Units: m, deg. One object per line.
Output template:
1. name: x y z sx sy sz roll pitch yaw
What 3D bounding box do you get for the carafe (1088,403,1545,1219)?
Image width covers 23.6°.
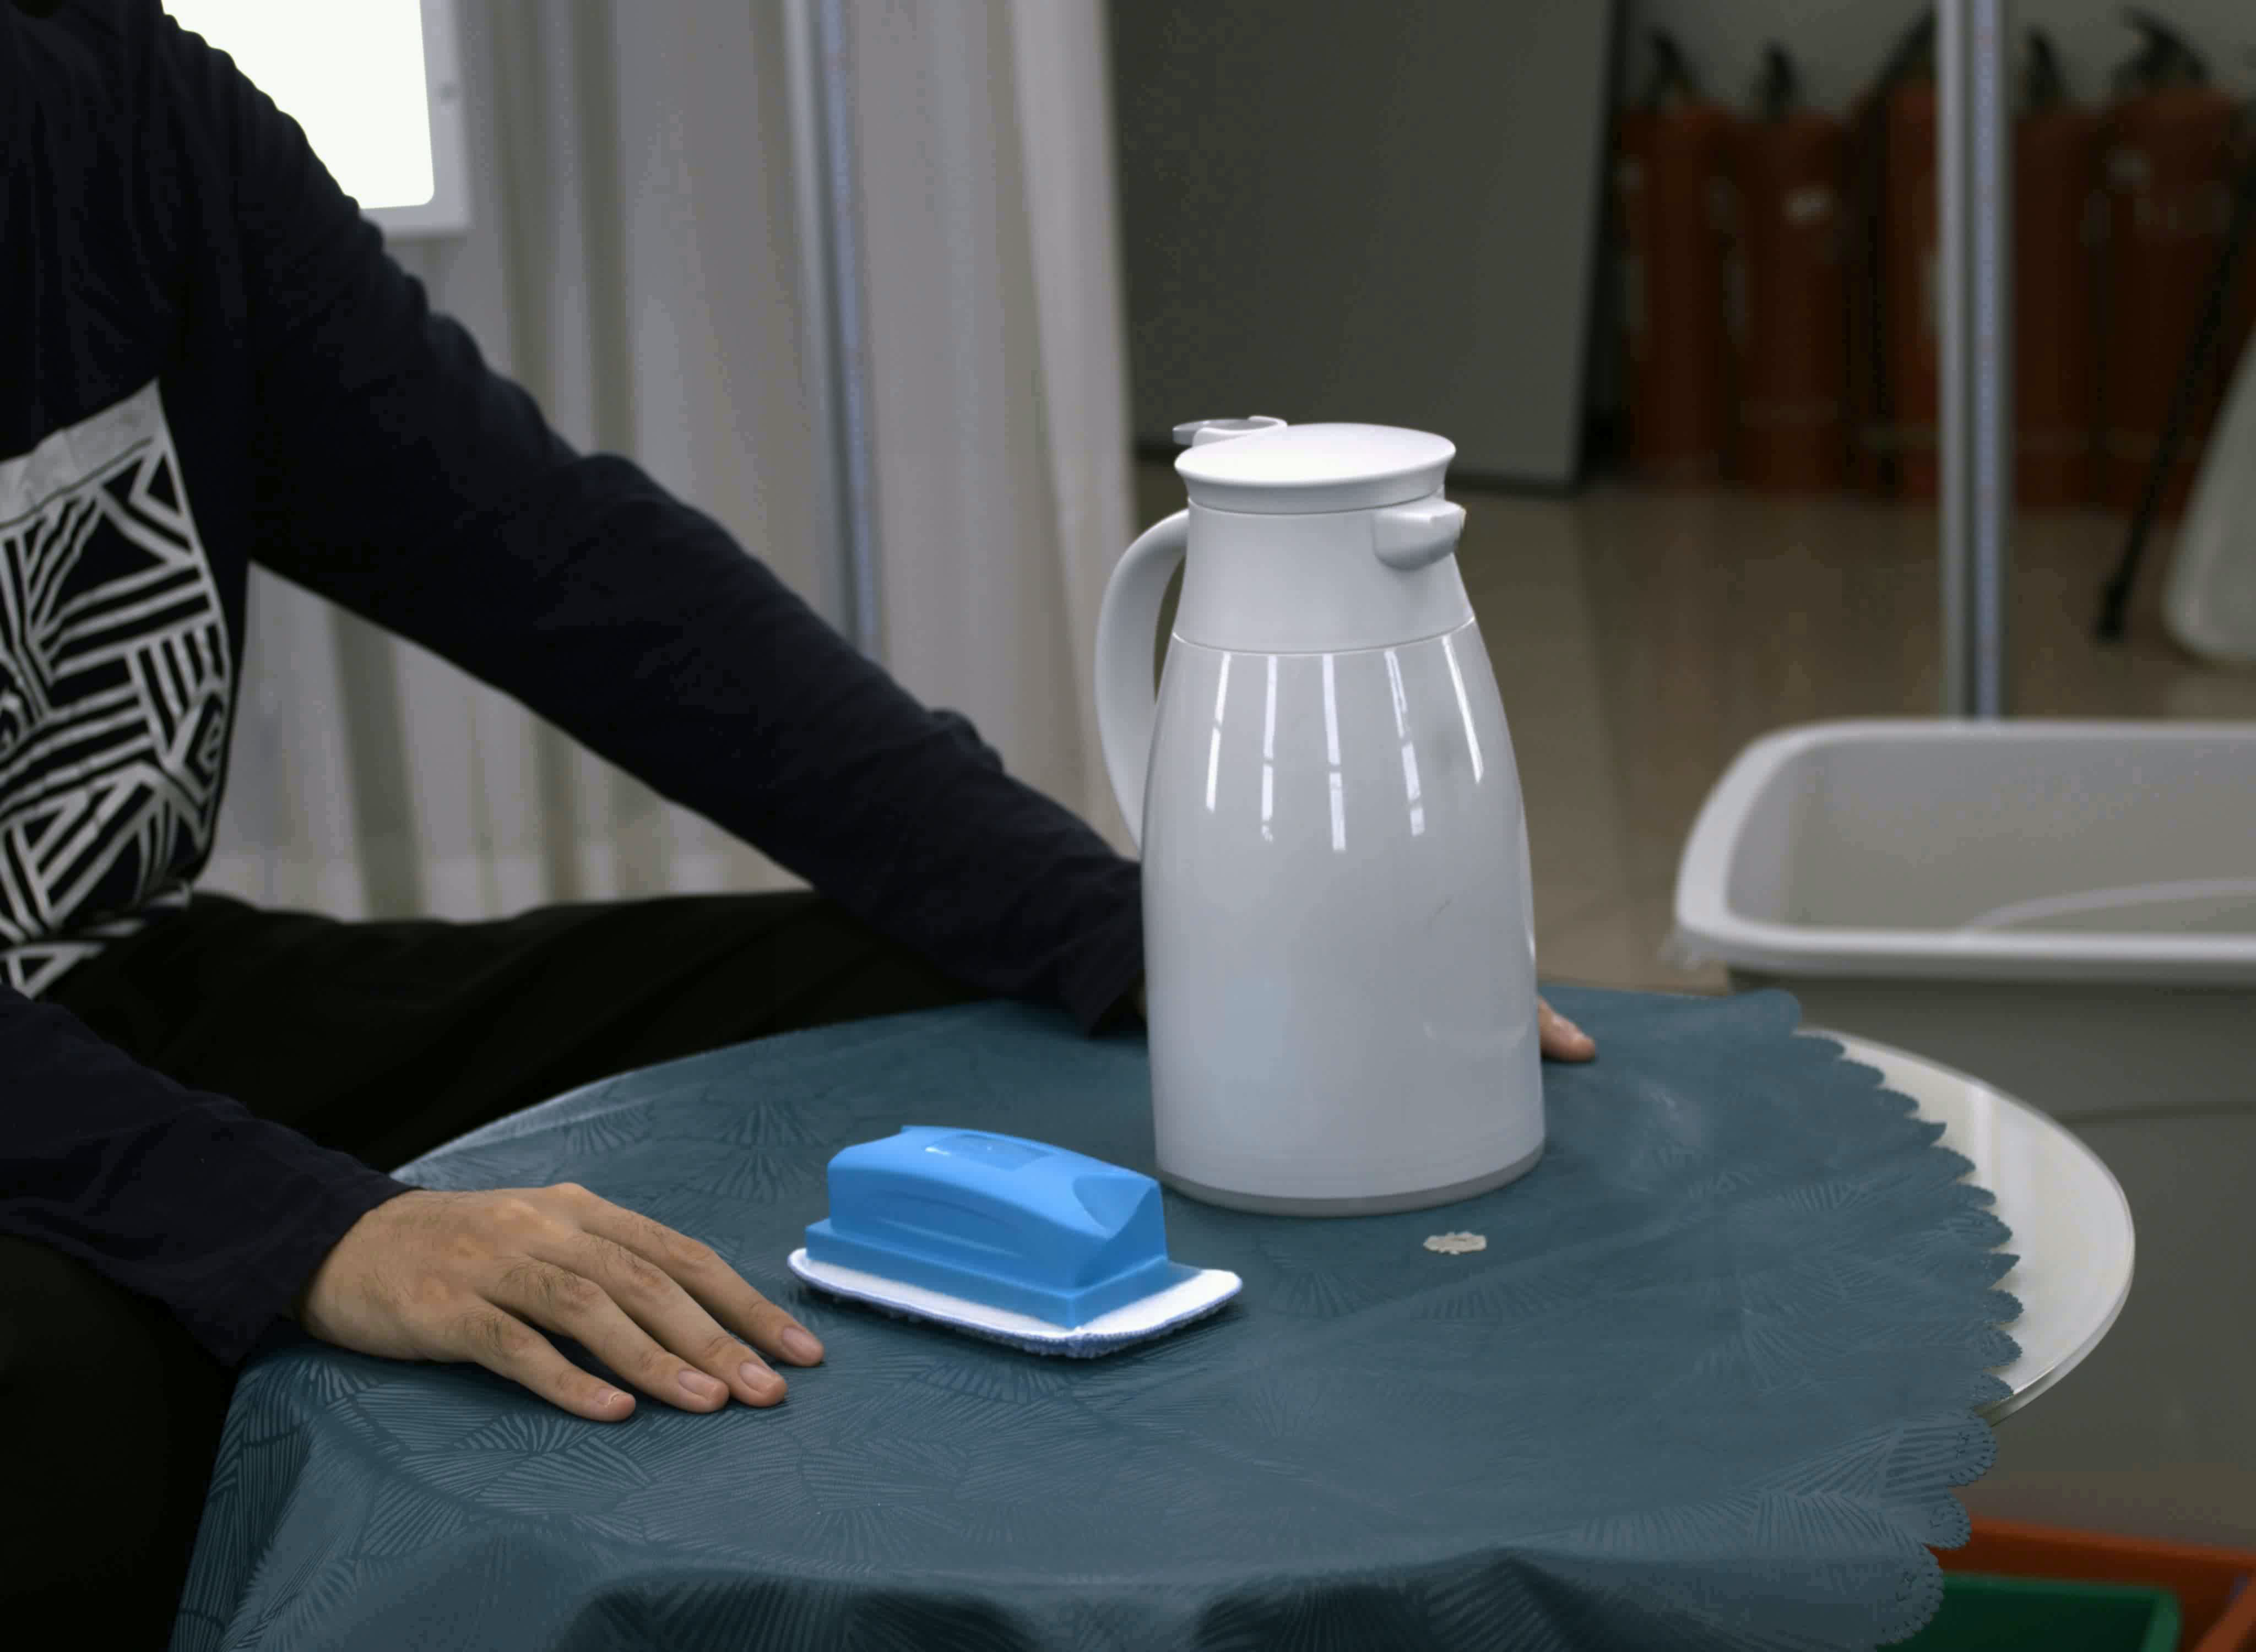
1. carafe: 0.052 -0.012 1.779 0.130 0.251 0.169 -16 17 -42

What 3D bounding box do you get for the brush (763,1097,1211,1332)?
1. brush: -0.043 0.119 1.672 0.082 0.056 0.145 -11 17 -41
